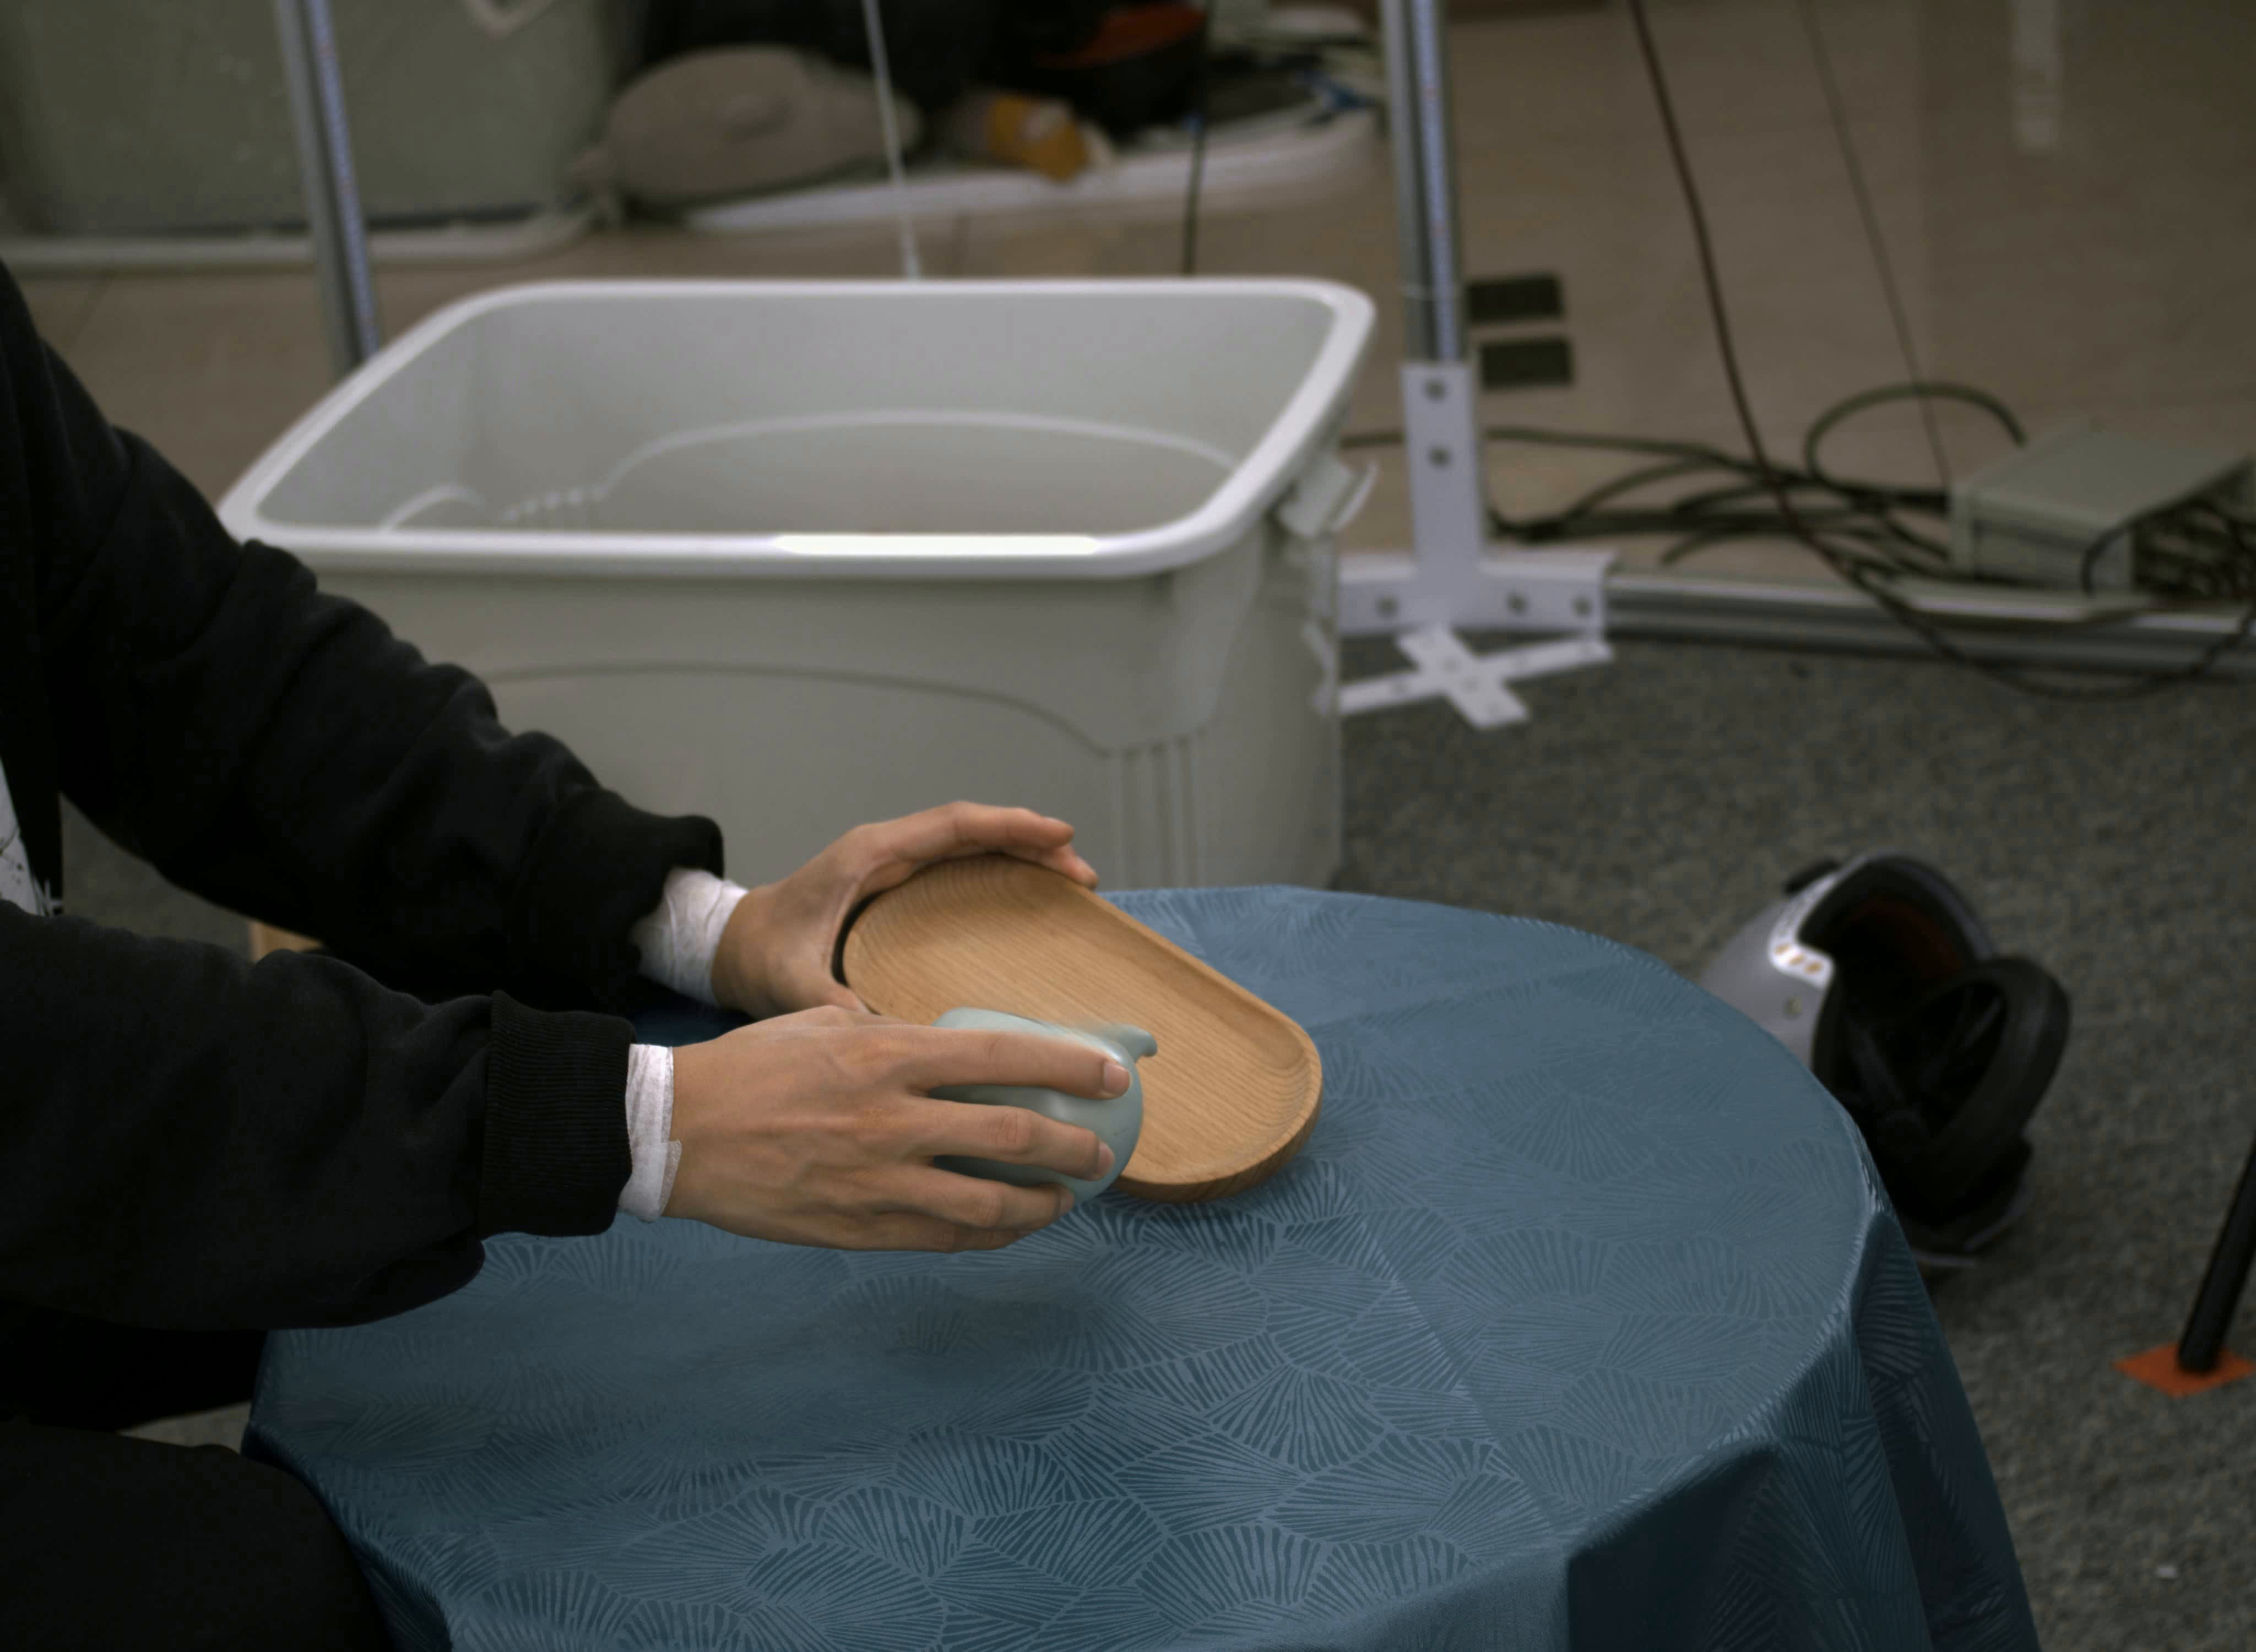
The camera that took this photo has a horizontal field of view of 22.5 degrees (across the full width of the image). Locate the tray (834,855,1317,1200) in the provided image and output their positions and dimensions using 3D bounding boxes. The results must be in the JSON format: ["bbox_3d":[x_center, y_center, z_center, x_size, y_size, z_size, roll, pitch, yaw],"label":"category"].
[{"bbox_3d":[-0.021,0.077,2.203,0.101,0.021,0.228,-36,46,-26],"label":"tray"}]

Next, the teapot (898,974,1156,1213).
[{"bbox_3d":[-0.039,0.099,2.045,0.088,0.075,0.144,13,-3,36],"label":"teapot"}]
